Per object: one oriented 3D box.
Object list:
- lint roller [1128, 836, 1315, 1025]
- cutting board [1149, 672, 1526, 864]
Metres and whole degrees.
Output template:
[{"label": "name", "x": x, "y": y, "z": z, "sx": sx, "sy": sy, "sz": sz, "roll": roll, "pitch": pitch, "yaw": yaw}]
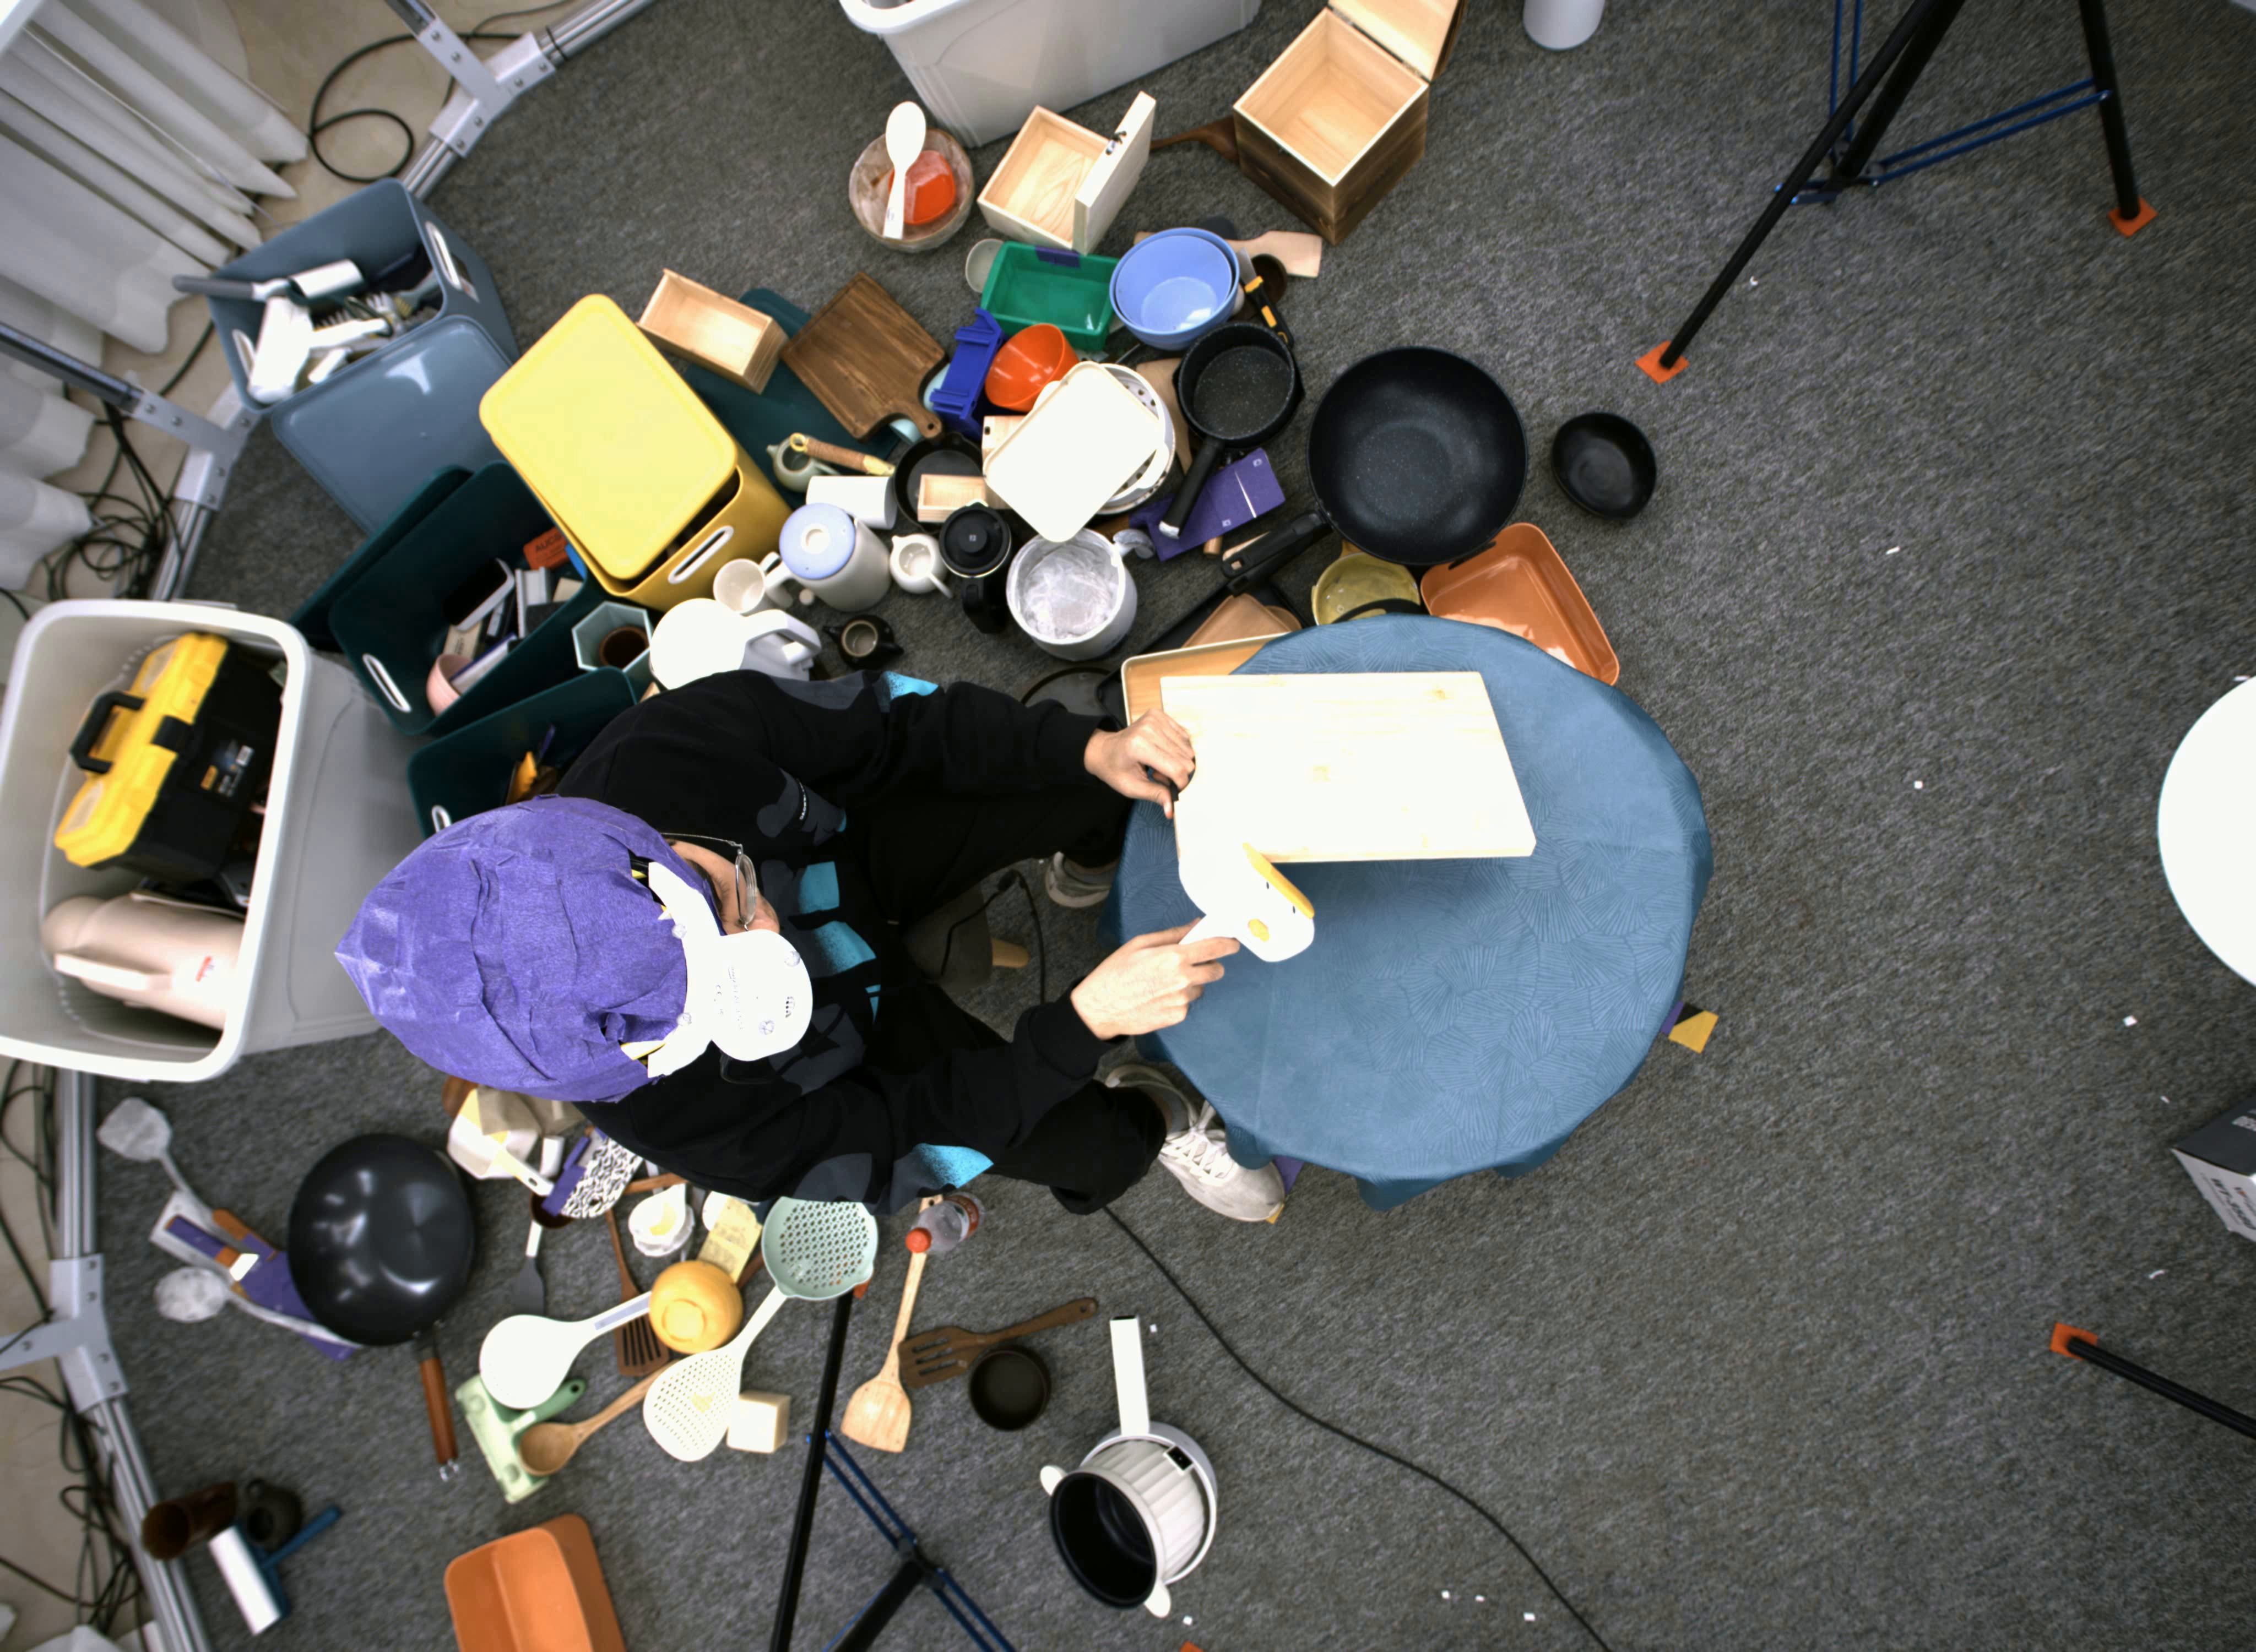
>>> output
[{"label": "lint roller", "x": 0.070, "y": 0.109, "z": 1.303, "sx": 0.195, "sy": 0.194, "sz": 0.073, "roll": -39, "pitch": 54, "yaw": 16}, {"label": "cutting board", "x": 0.202, "y": -0.063, "z": 1.363, "sx": 0.349, "sy": 0.024, "sz": 0.244, "roll": -2, "pitch": 51, "yaw": -4}]
